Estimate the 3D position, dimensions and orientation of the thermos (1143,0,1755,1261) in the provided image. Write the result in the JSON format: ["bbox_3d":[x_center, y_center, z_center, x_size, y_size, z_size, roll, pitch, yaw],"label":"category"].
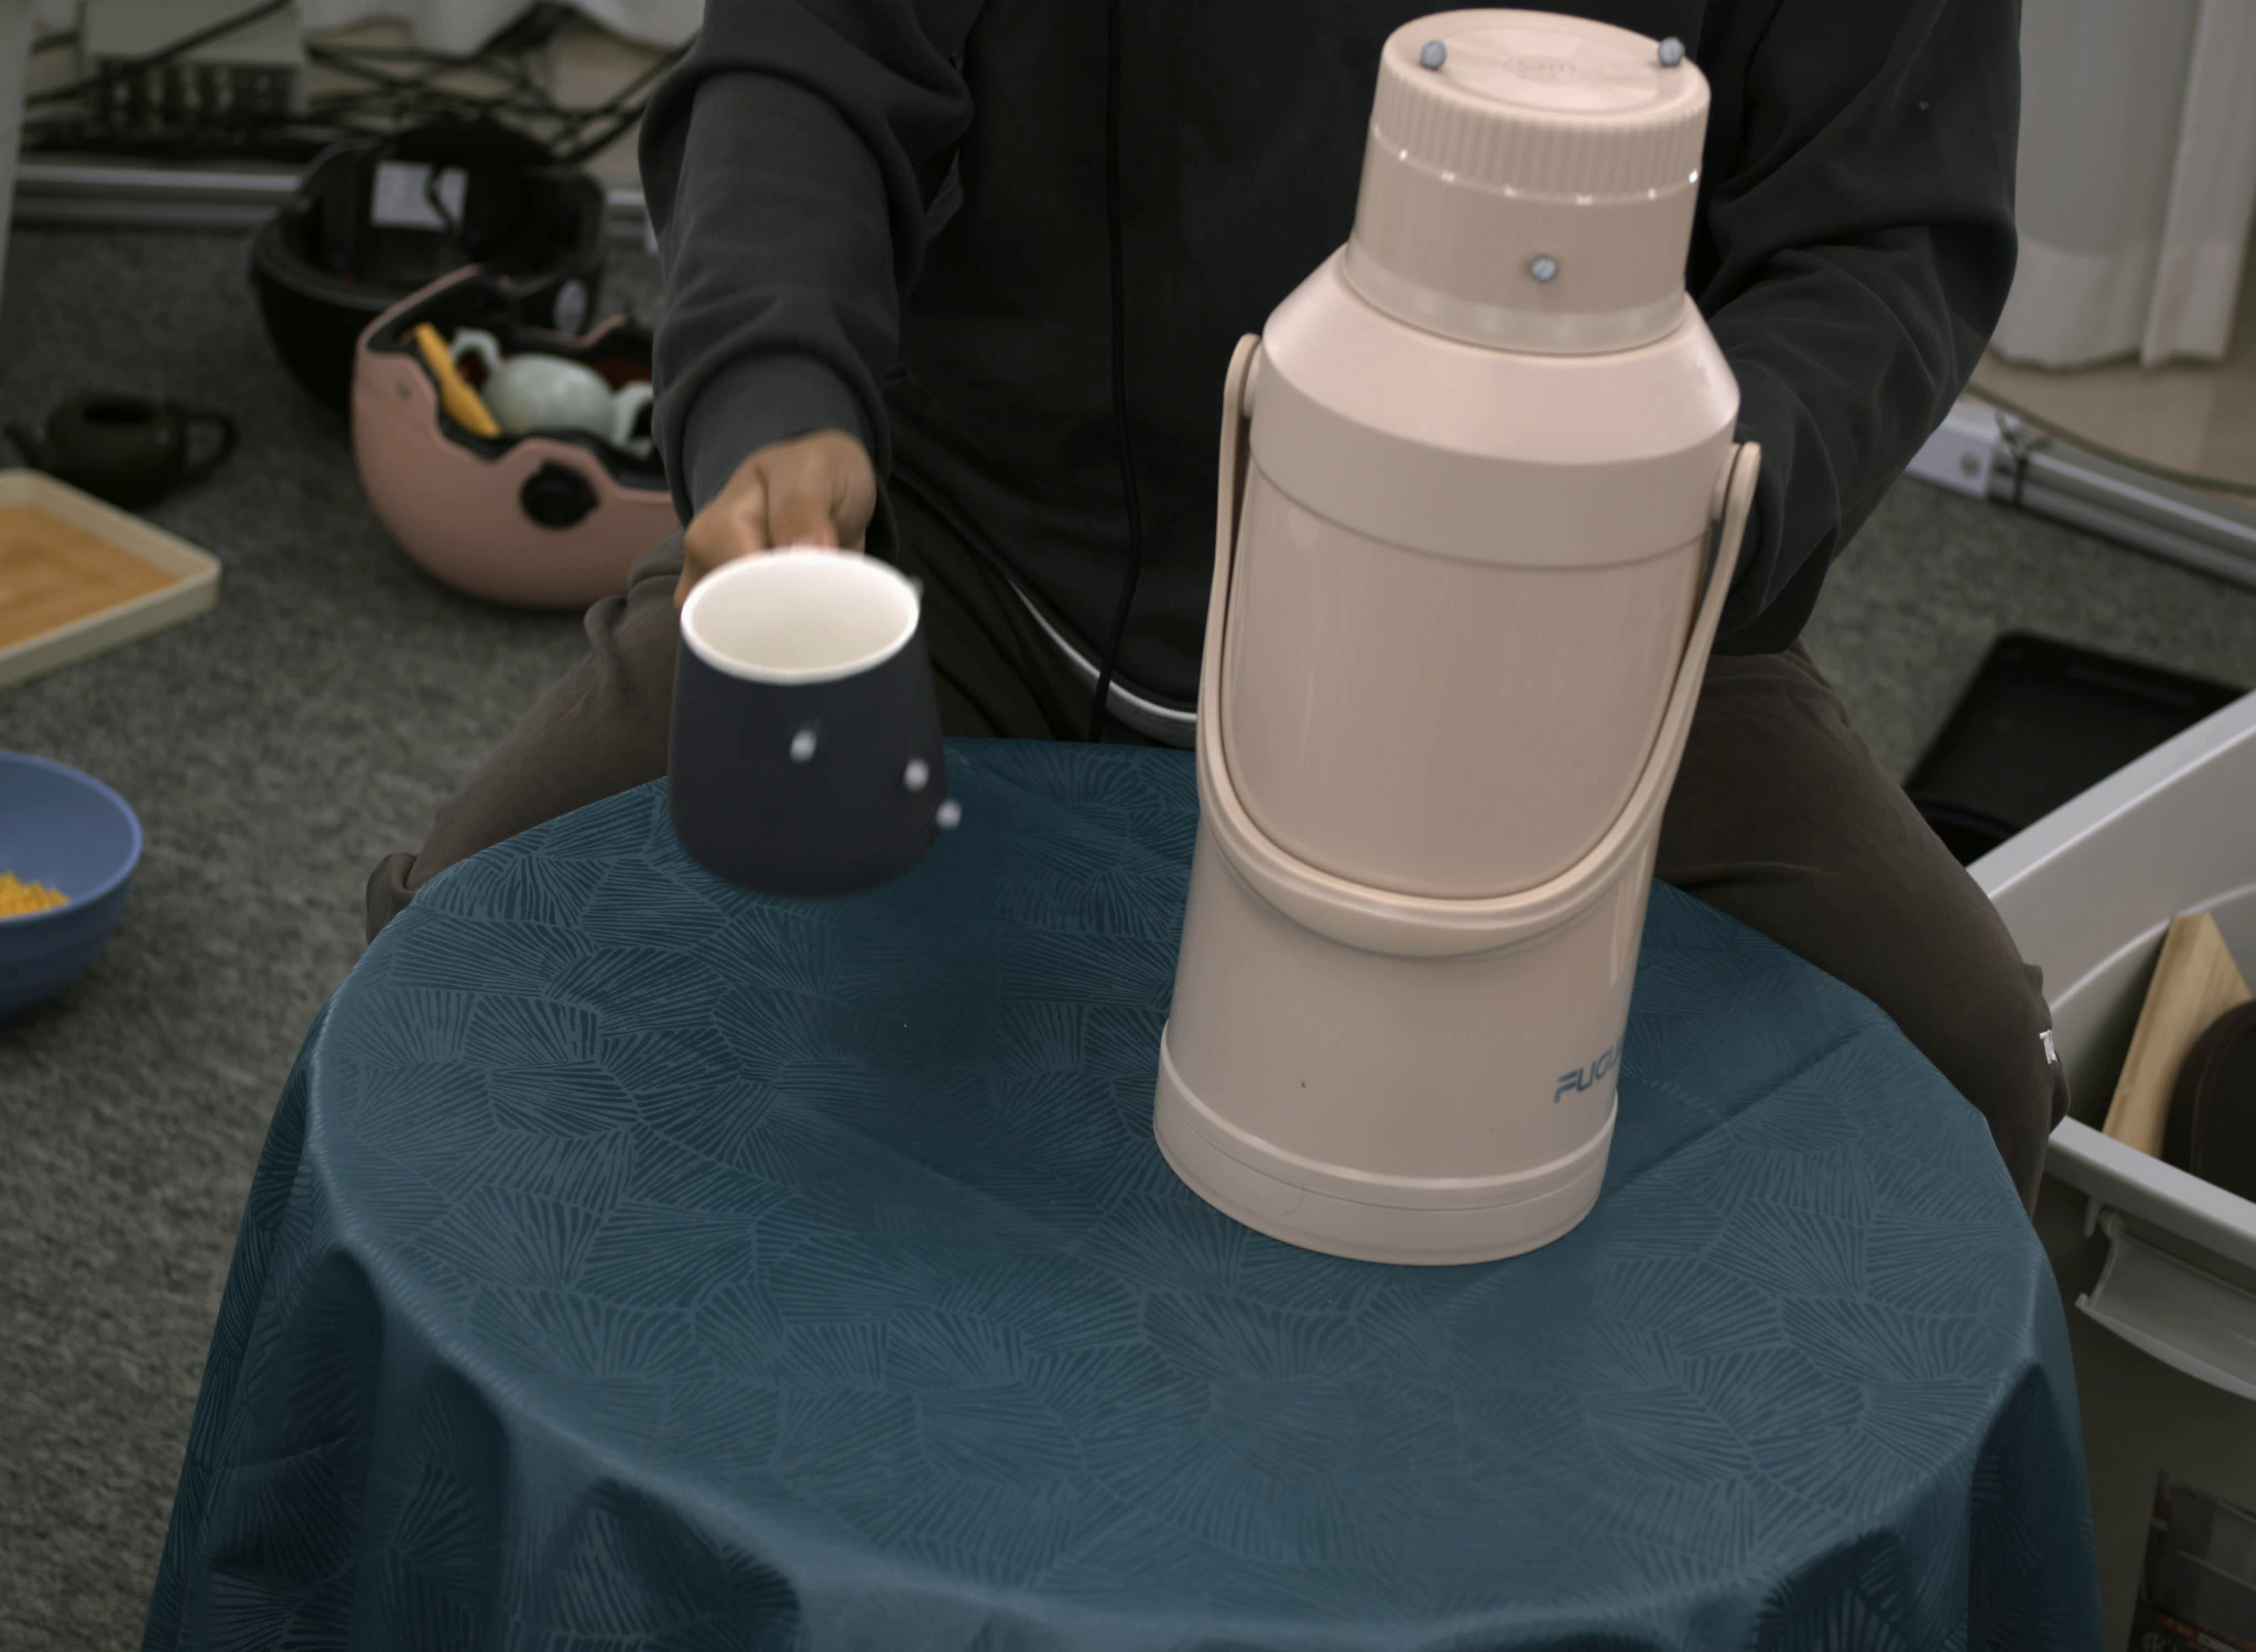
[{"bbox_3d":[0.112,-0.070,1.778,0.175,0.405,0.207,13,27,12],"label":"thermos"}]

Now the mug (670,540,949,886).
[{"bbox_3d":[-0.107,-0.045,1.775,0.093,0.089,0.124,-2,33,-2],"label":"mug"}]
